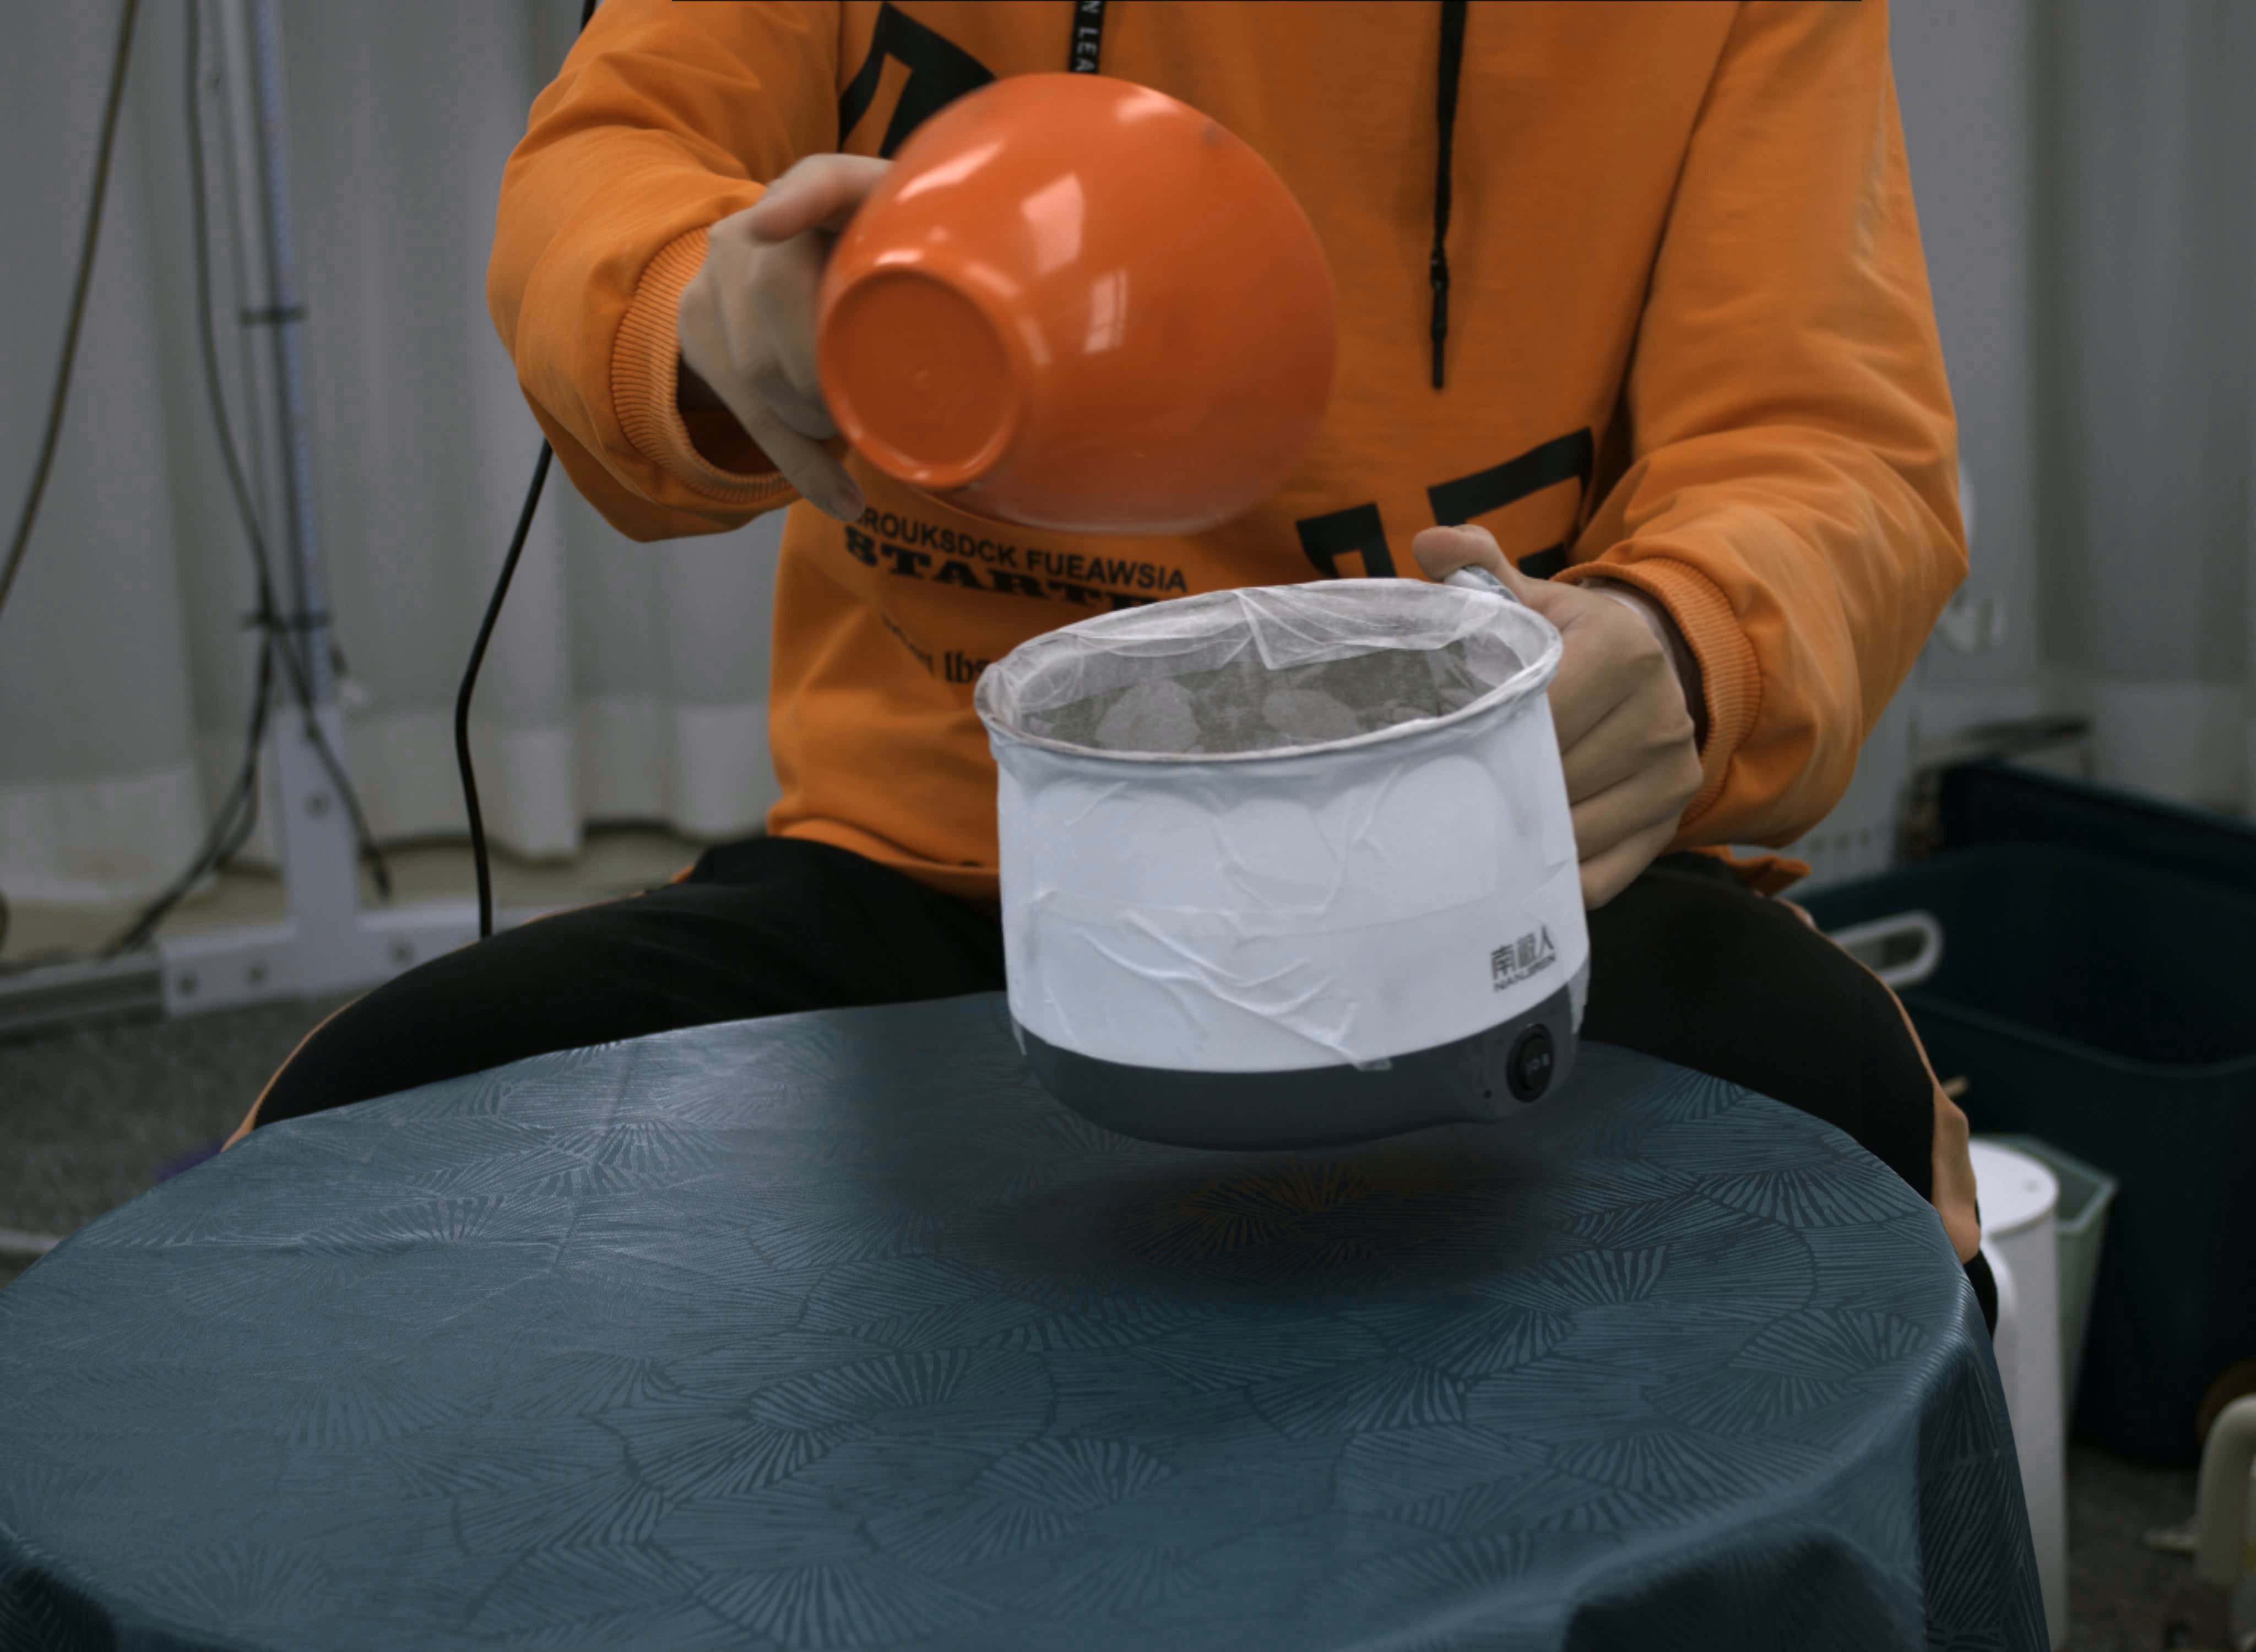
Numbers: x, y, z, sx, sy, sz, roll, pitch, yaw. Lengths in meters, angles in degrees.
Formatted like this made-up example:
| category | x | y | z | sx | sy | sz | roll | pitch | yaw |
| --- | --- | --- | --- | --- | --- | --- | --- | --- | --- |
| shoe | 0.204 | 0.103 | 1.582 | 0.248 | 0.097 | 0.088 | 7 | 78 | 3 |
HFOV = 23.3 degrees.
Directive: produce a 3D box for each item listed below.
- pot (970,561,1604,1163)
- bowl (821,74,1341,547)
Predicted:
| category | x | y | z | sx | sy | sz | roll | pitch | yaw |
| --- | --- | --- | --- | --- | --- | --- | --- | --- | --- |
| pot | 0.064 | 0.004 | 1.670 | 0.179 | 0.136 | 0.234 | 9 | 23 | 38 |
| bowl | -0.026 | -0.137 | 1.579 | 0.148 | 0.147 | 0.105 | 5 | 21 | 27 |
